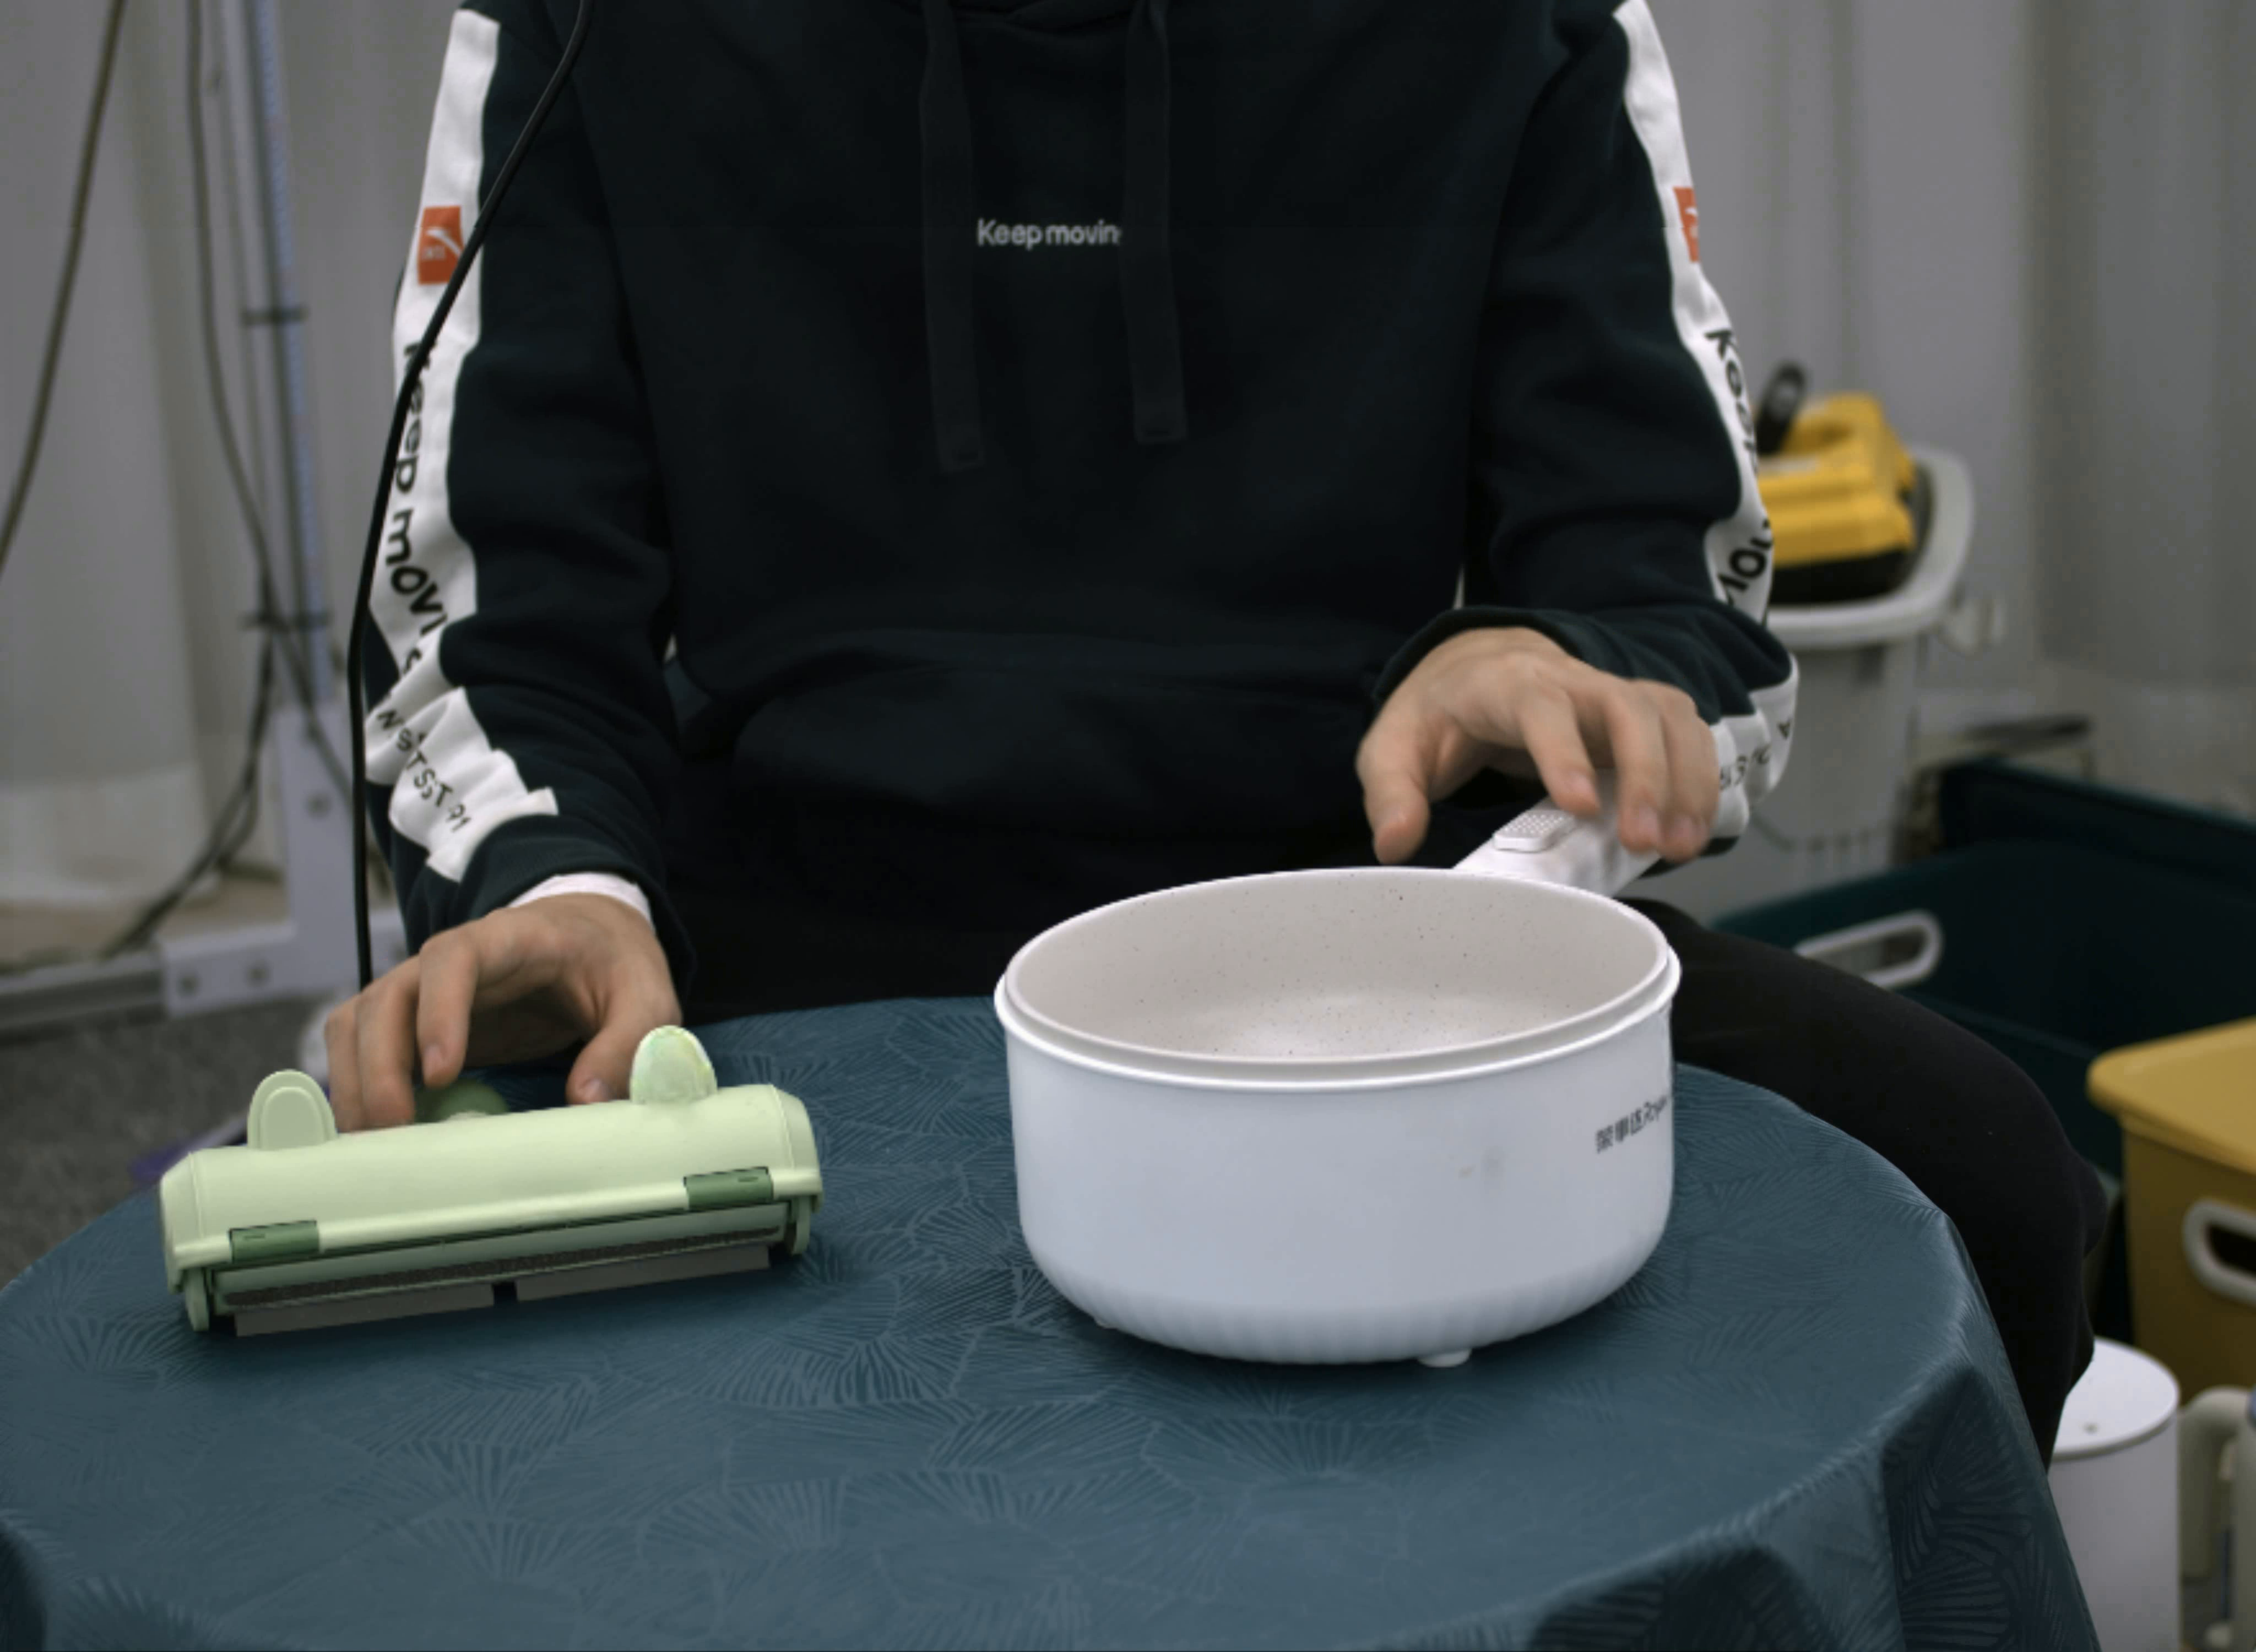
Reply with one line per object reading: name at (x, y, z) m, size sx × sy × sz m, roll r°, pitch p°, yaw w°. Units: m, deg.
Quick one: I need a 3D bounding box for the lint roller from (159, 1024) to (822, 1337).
lint roller at (-0.205, 0.091, 1.700) m, size 0.198 × 0.081 × 0.185 m, roll -7°, pitch 20°, yaw -12°

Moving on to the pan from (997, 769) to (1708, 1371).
pan at (0.097, 0.070, 1.676) m, size 0.201 × 0.102 × 0.355 m, roll 3°, pitch 15°, yaw 26°
